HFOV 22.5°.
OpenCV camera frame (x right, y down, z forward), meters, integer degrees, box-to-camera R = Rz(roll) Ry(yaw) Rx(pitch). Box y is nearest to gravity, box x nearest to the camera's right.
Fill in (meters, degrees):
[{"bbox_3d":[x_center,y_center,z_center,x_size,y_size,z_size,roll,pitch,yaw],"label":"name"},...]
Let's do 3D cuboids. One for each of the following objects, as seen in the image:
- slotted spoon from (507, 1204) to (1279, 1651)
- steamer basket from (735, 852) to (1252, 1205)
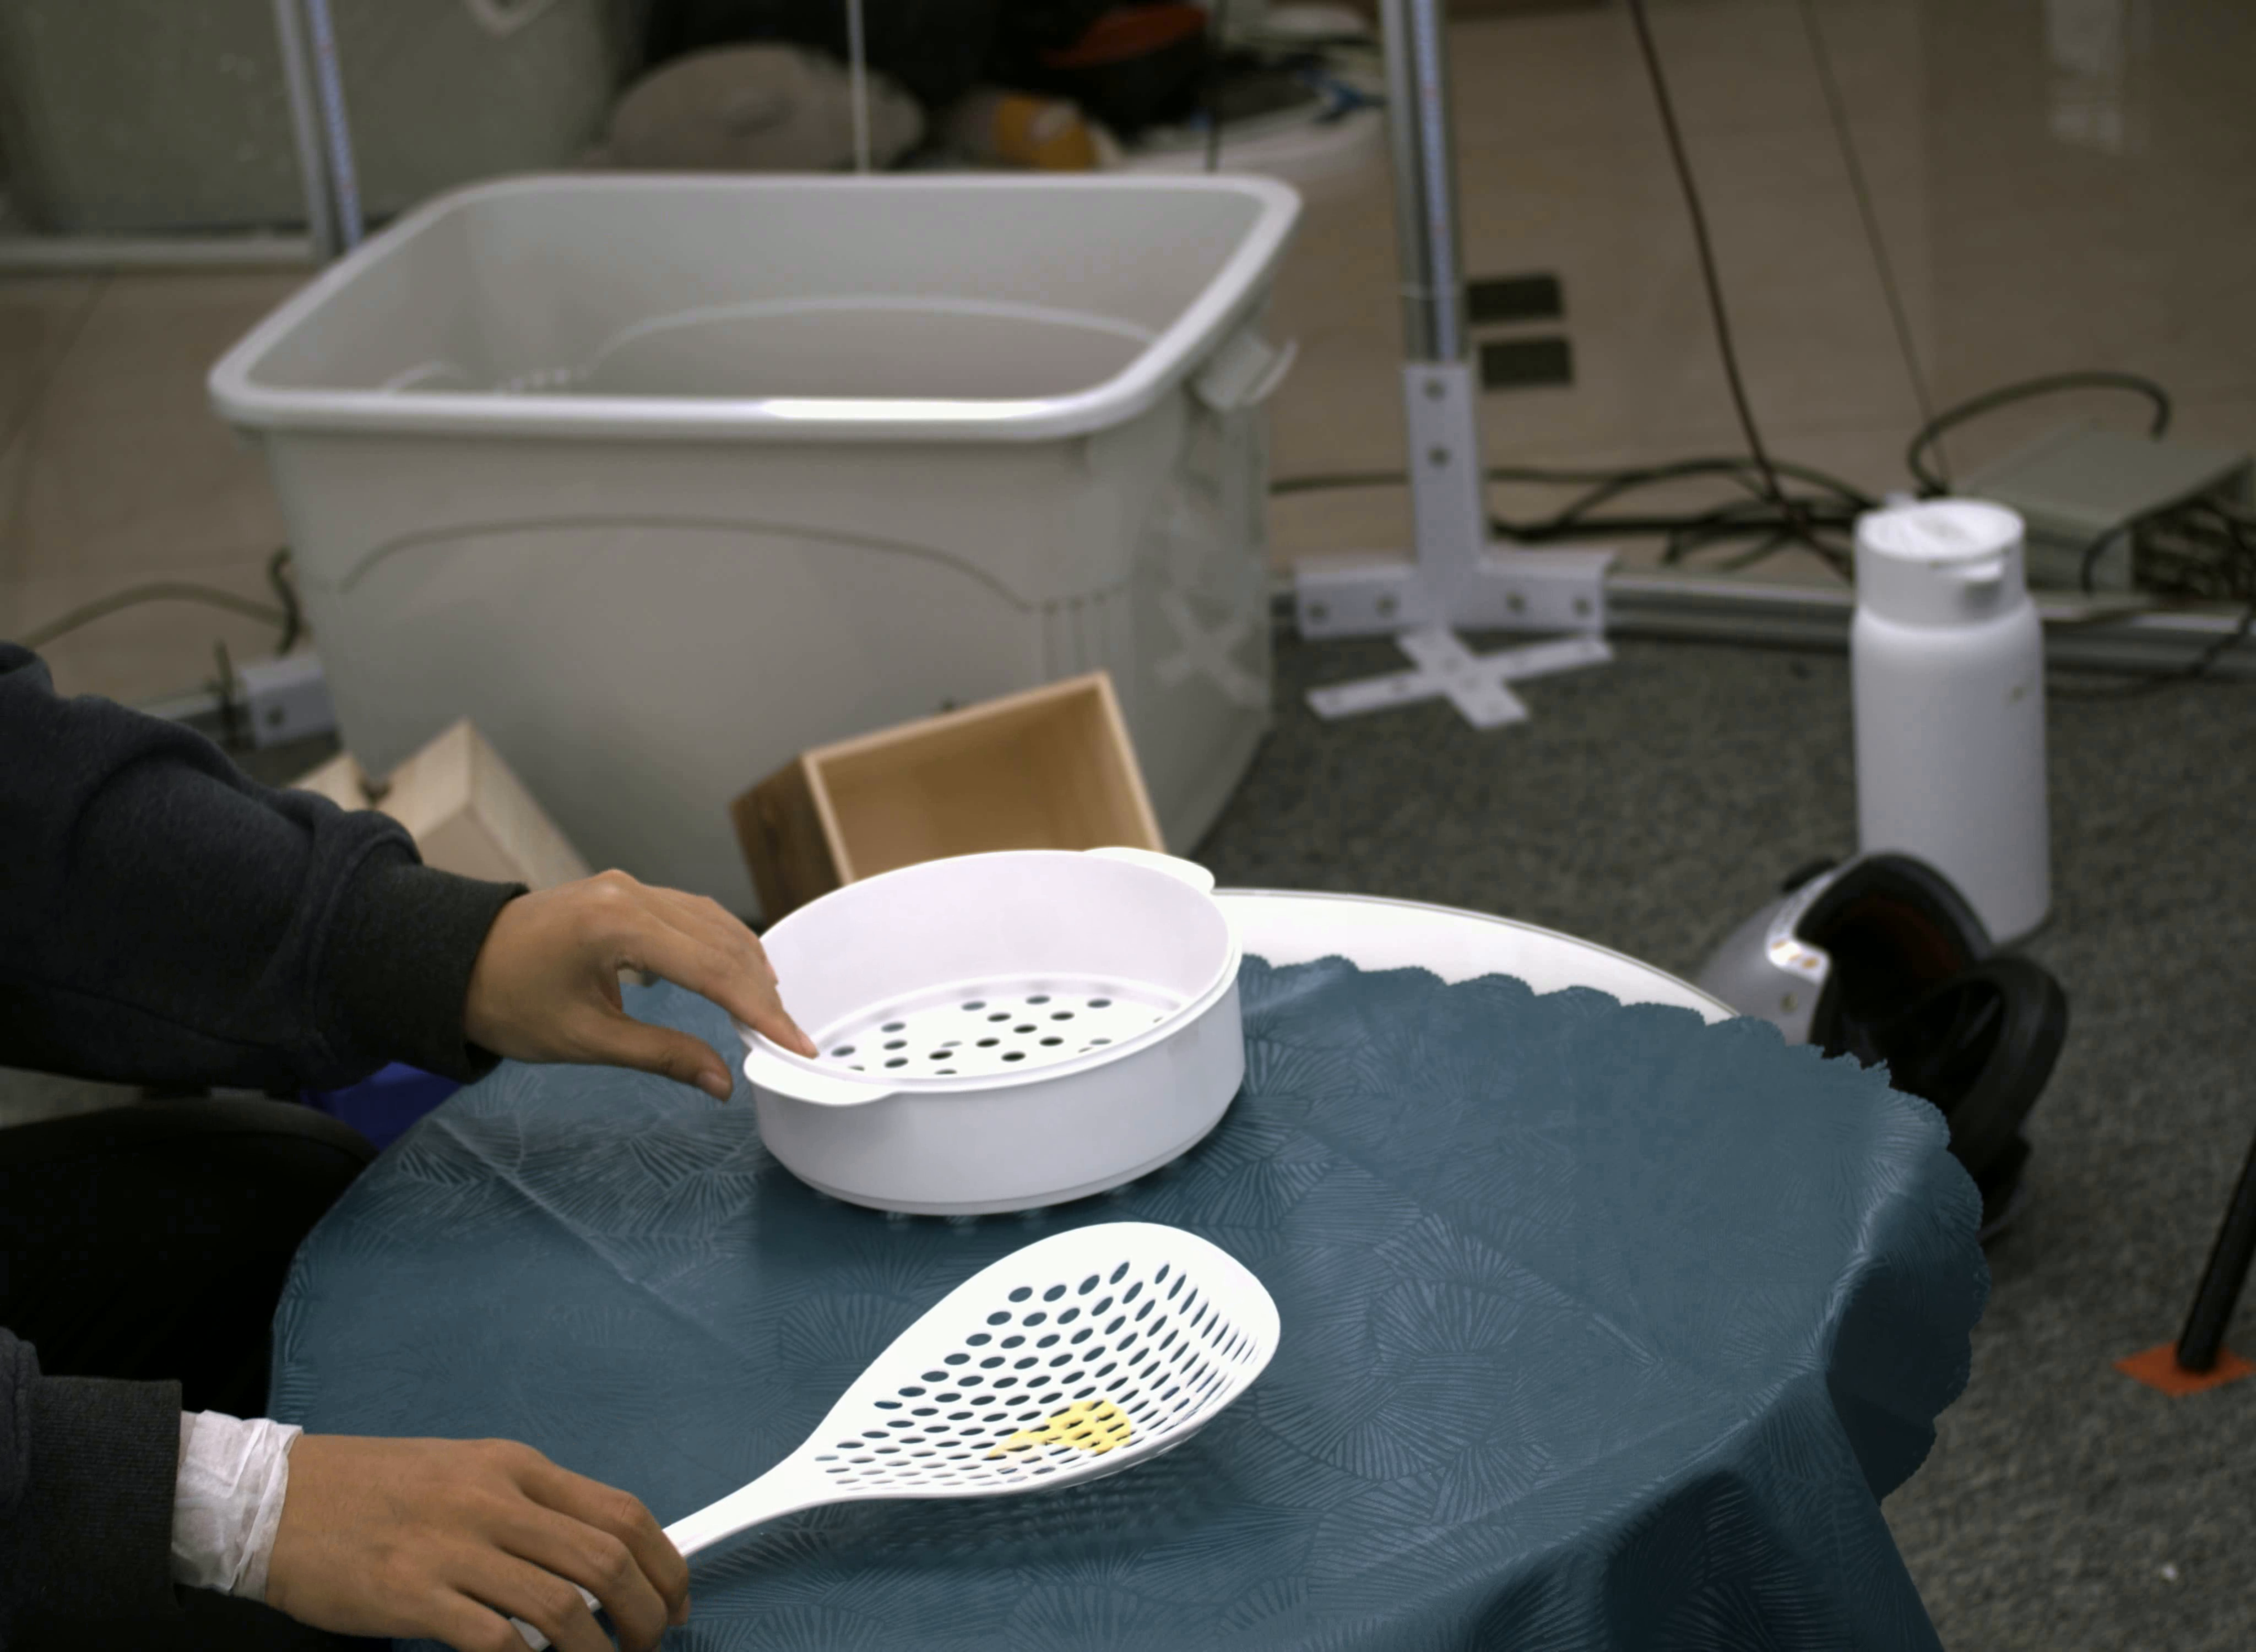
[{"bbox_3d":[-0.106,0.233,1.944,0.346,0.051,0.135,-23,35,-20],"label":"slotted spoon"},{"bbox_3d":[-0.049,0.080,2.206,0.200,0.070,0.228,13,29,37],"label":"steamer basket"}]
